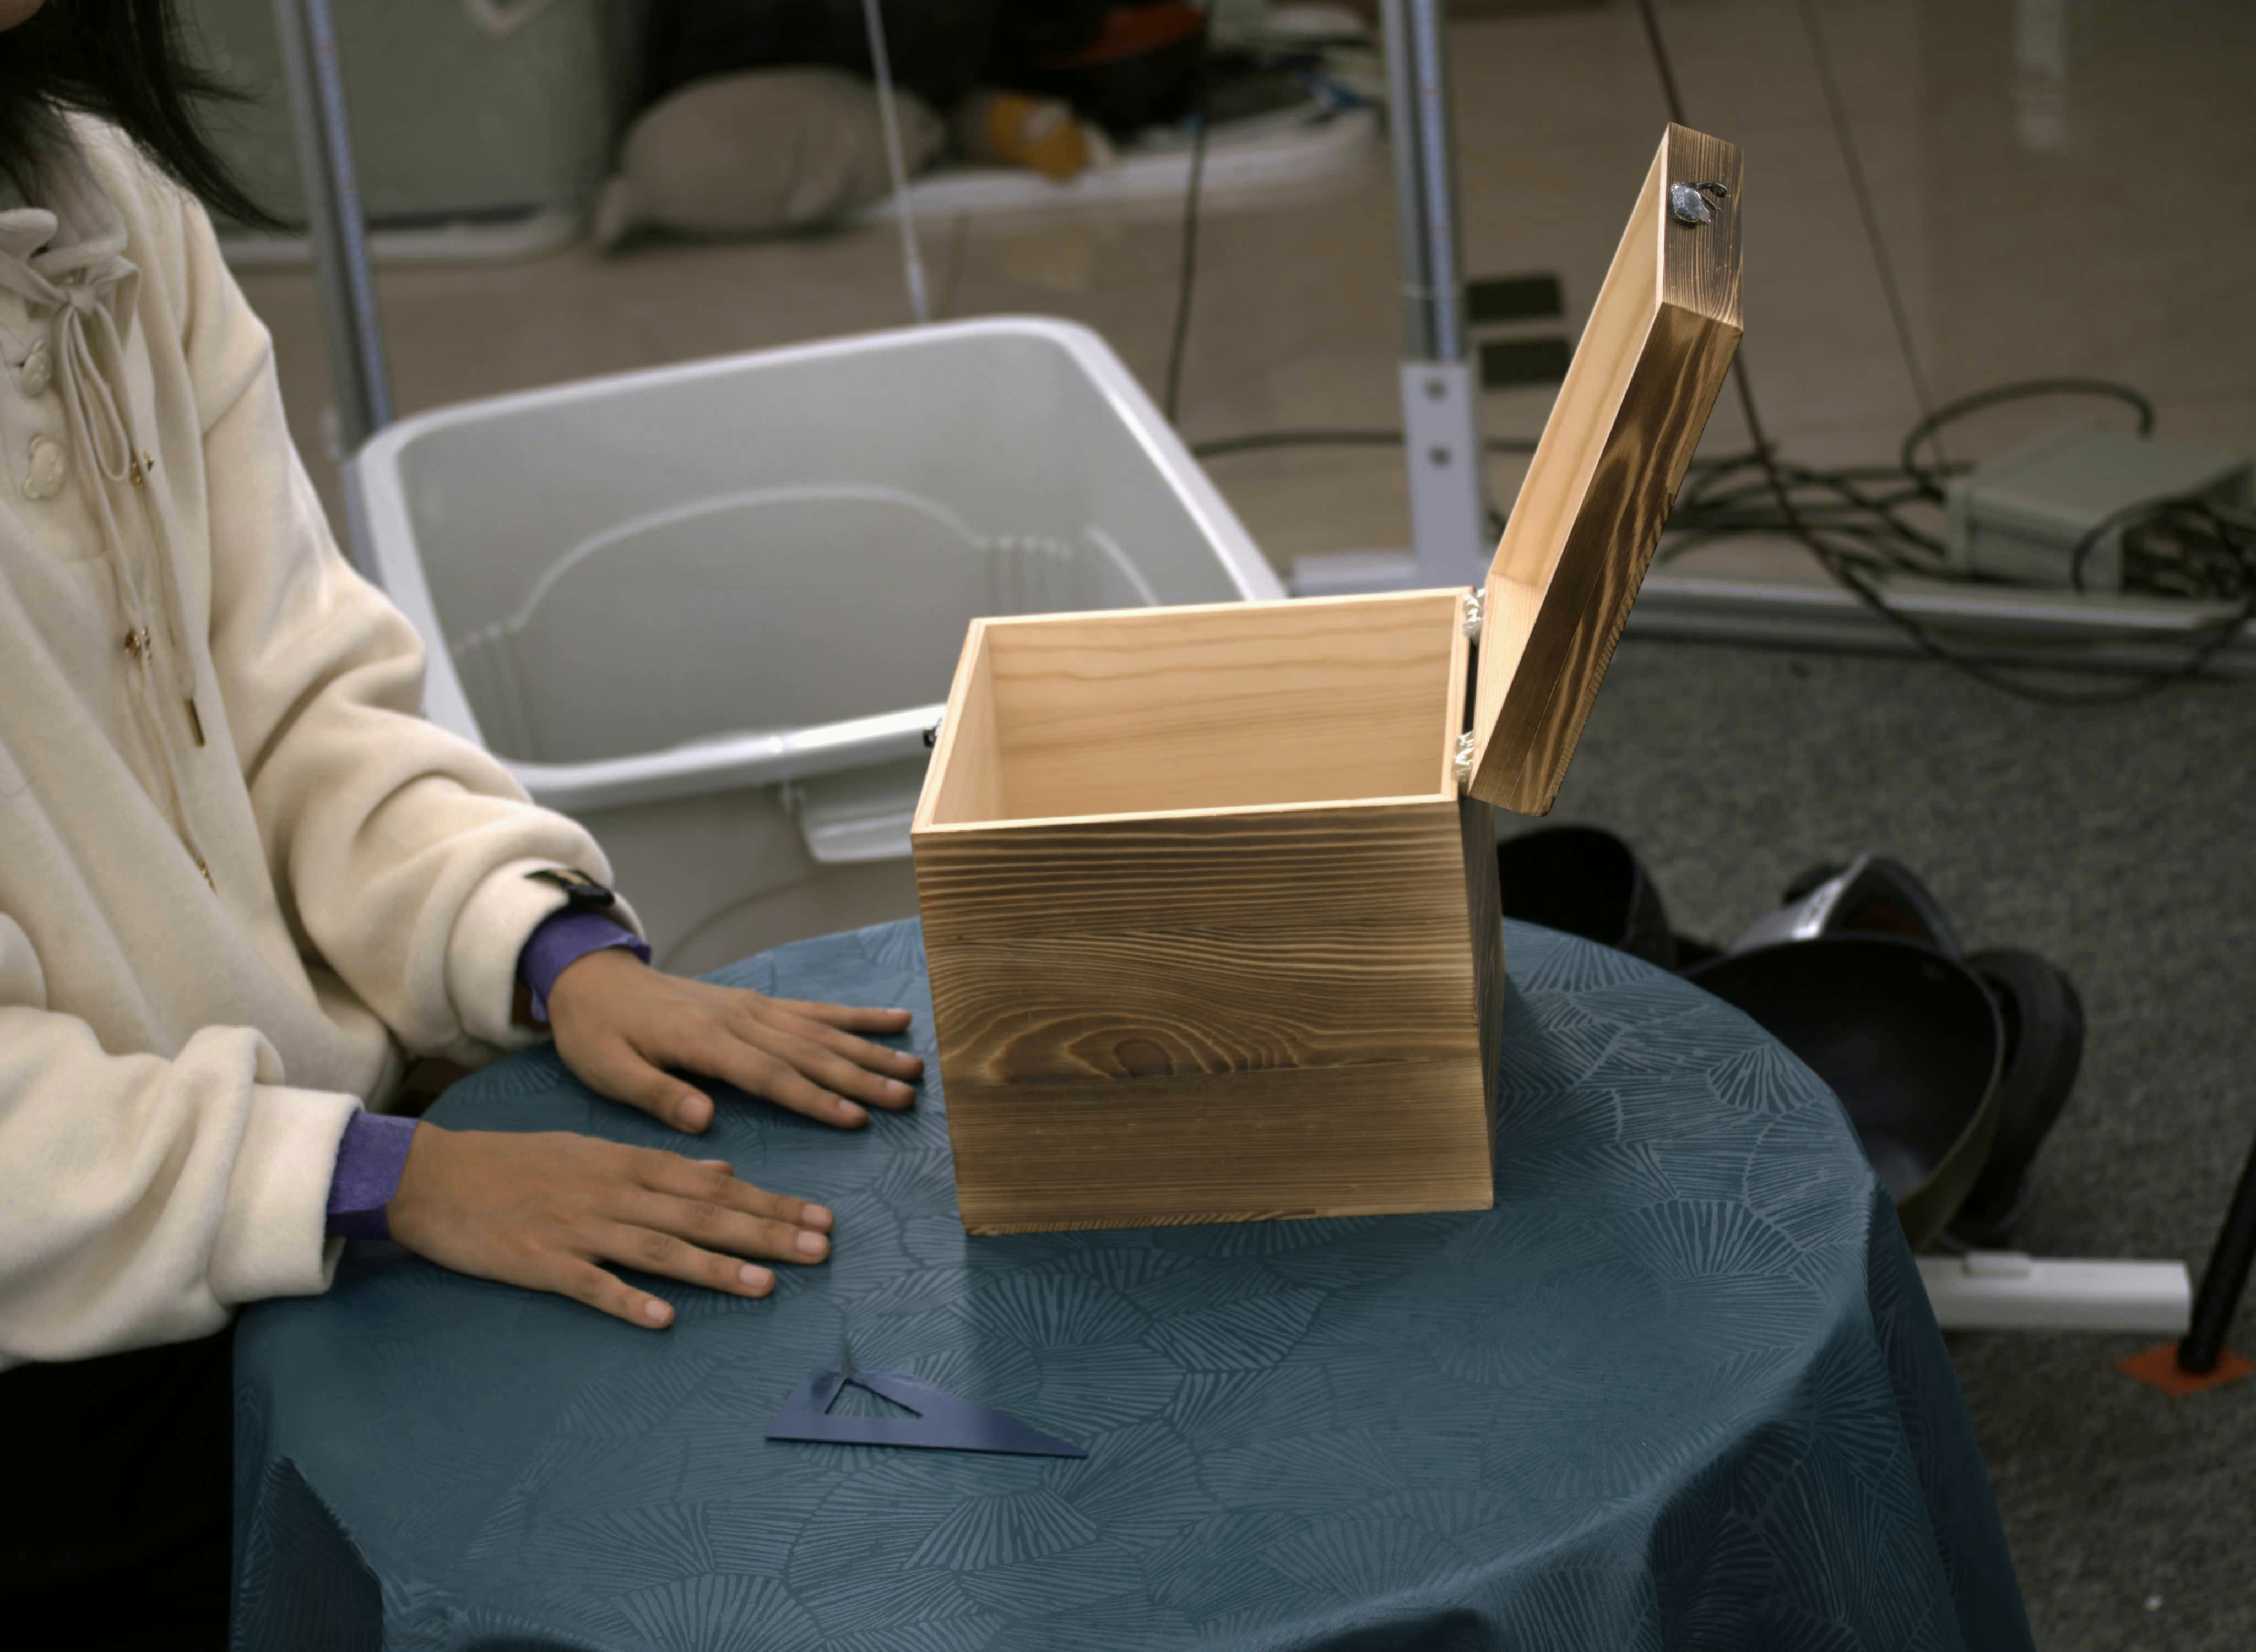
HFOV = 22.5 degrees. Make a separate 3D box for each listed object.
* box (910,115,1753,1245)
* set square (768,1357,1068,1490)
[{"bbox_3d":[0.079,-0.058,2.123,0.321,0.381,0.206,-2,25,6],"label":"box"},{"bbox_3d":[-0.081,0.217,1.996,0.061,0.006,0.131,-22,29,-35],"label":"set square"}]
